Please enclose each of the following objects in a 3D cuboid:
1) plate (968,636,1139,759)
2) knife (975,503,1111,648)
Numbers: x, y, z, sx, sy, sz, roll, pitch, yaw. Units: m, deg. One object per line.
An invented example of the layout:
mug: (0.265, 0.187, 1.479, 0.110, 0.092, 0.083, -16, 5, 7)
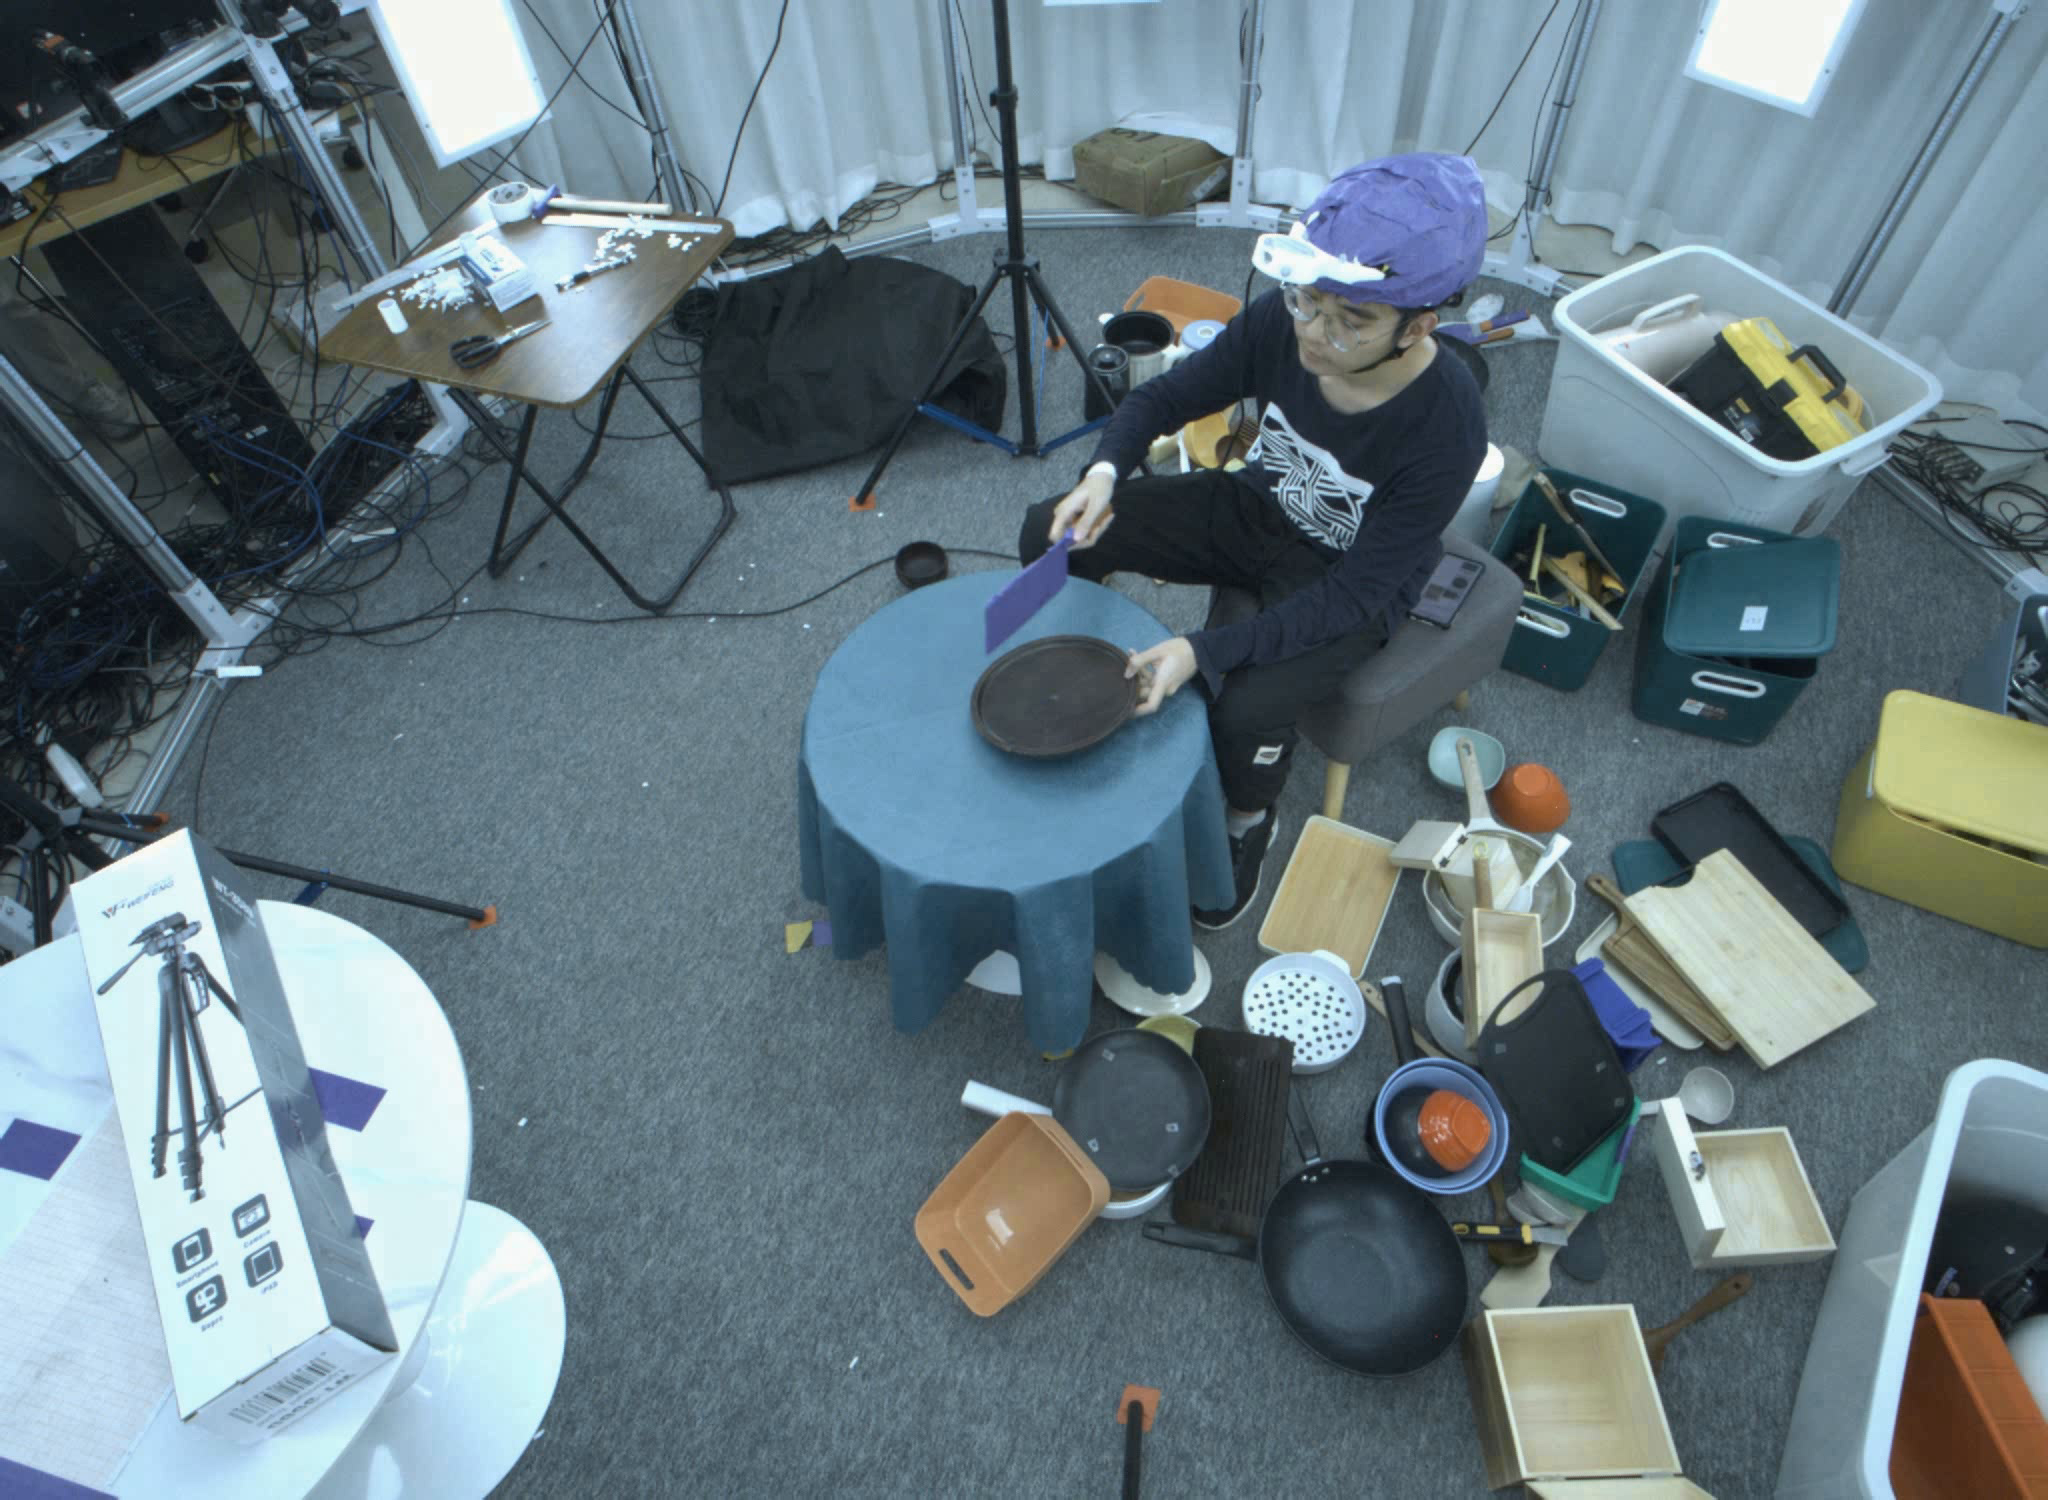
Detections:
plate: (0.043, -0.079, 1.810, 0.253, 0.029, 0.252, -6, 47, 7)
knife: (0.026, -0.256, 1.784, 0.031, 0.105, 0.318, 29, 50, 24)
